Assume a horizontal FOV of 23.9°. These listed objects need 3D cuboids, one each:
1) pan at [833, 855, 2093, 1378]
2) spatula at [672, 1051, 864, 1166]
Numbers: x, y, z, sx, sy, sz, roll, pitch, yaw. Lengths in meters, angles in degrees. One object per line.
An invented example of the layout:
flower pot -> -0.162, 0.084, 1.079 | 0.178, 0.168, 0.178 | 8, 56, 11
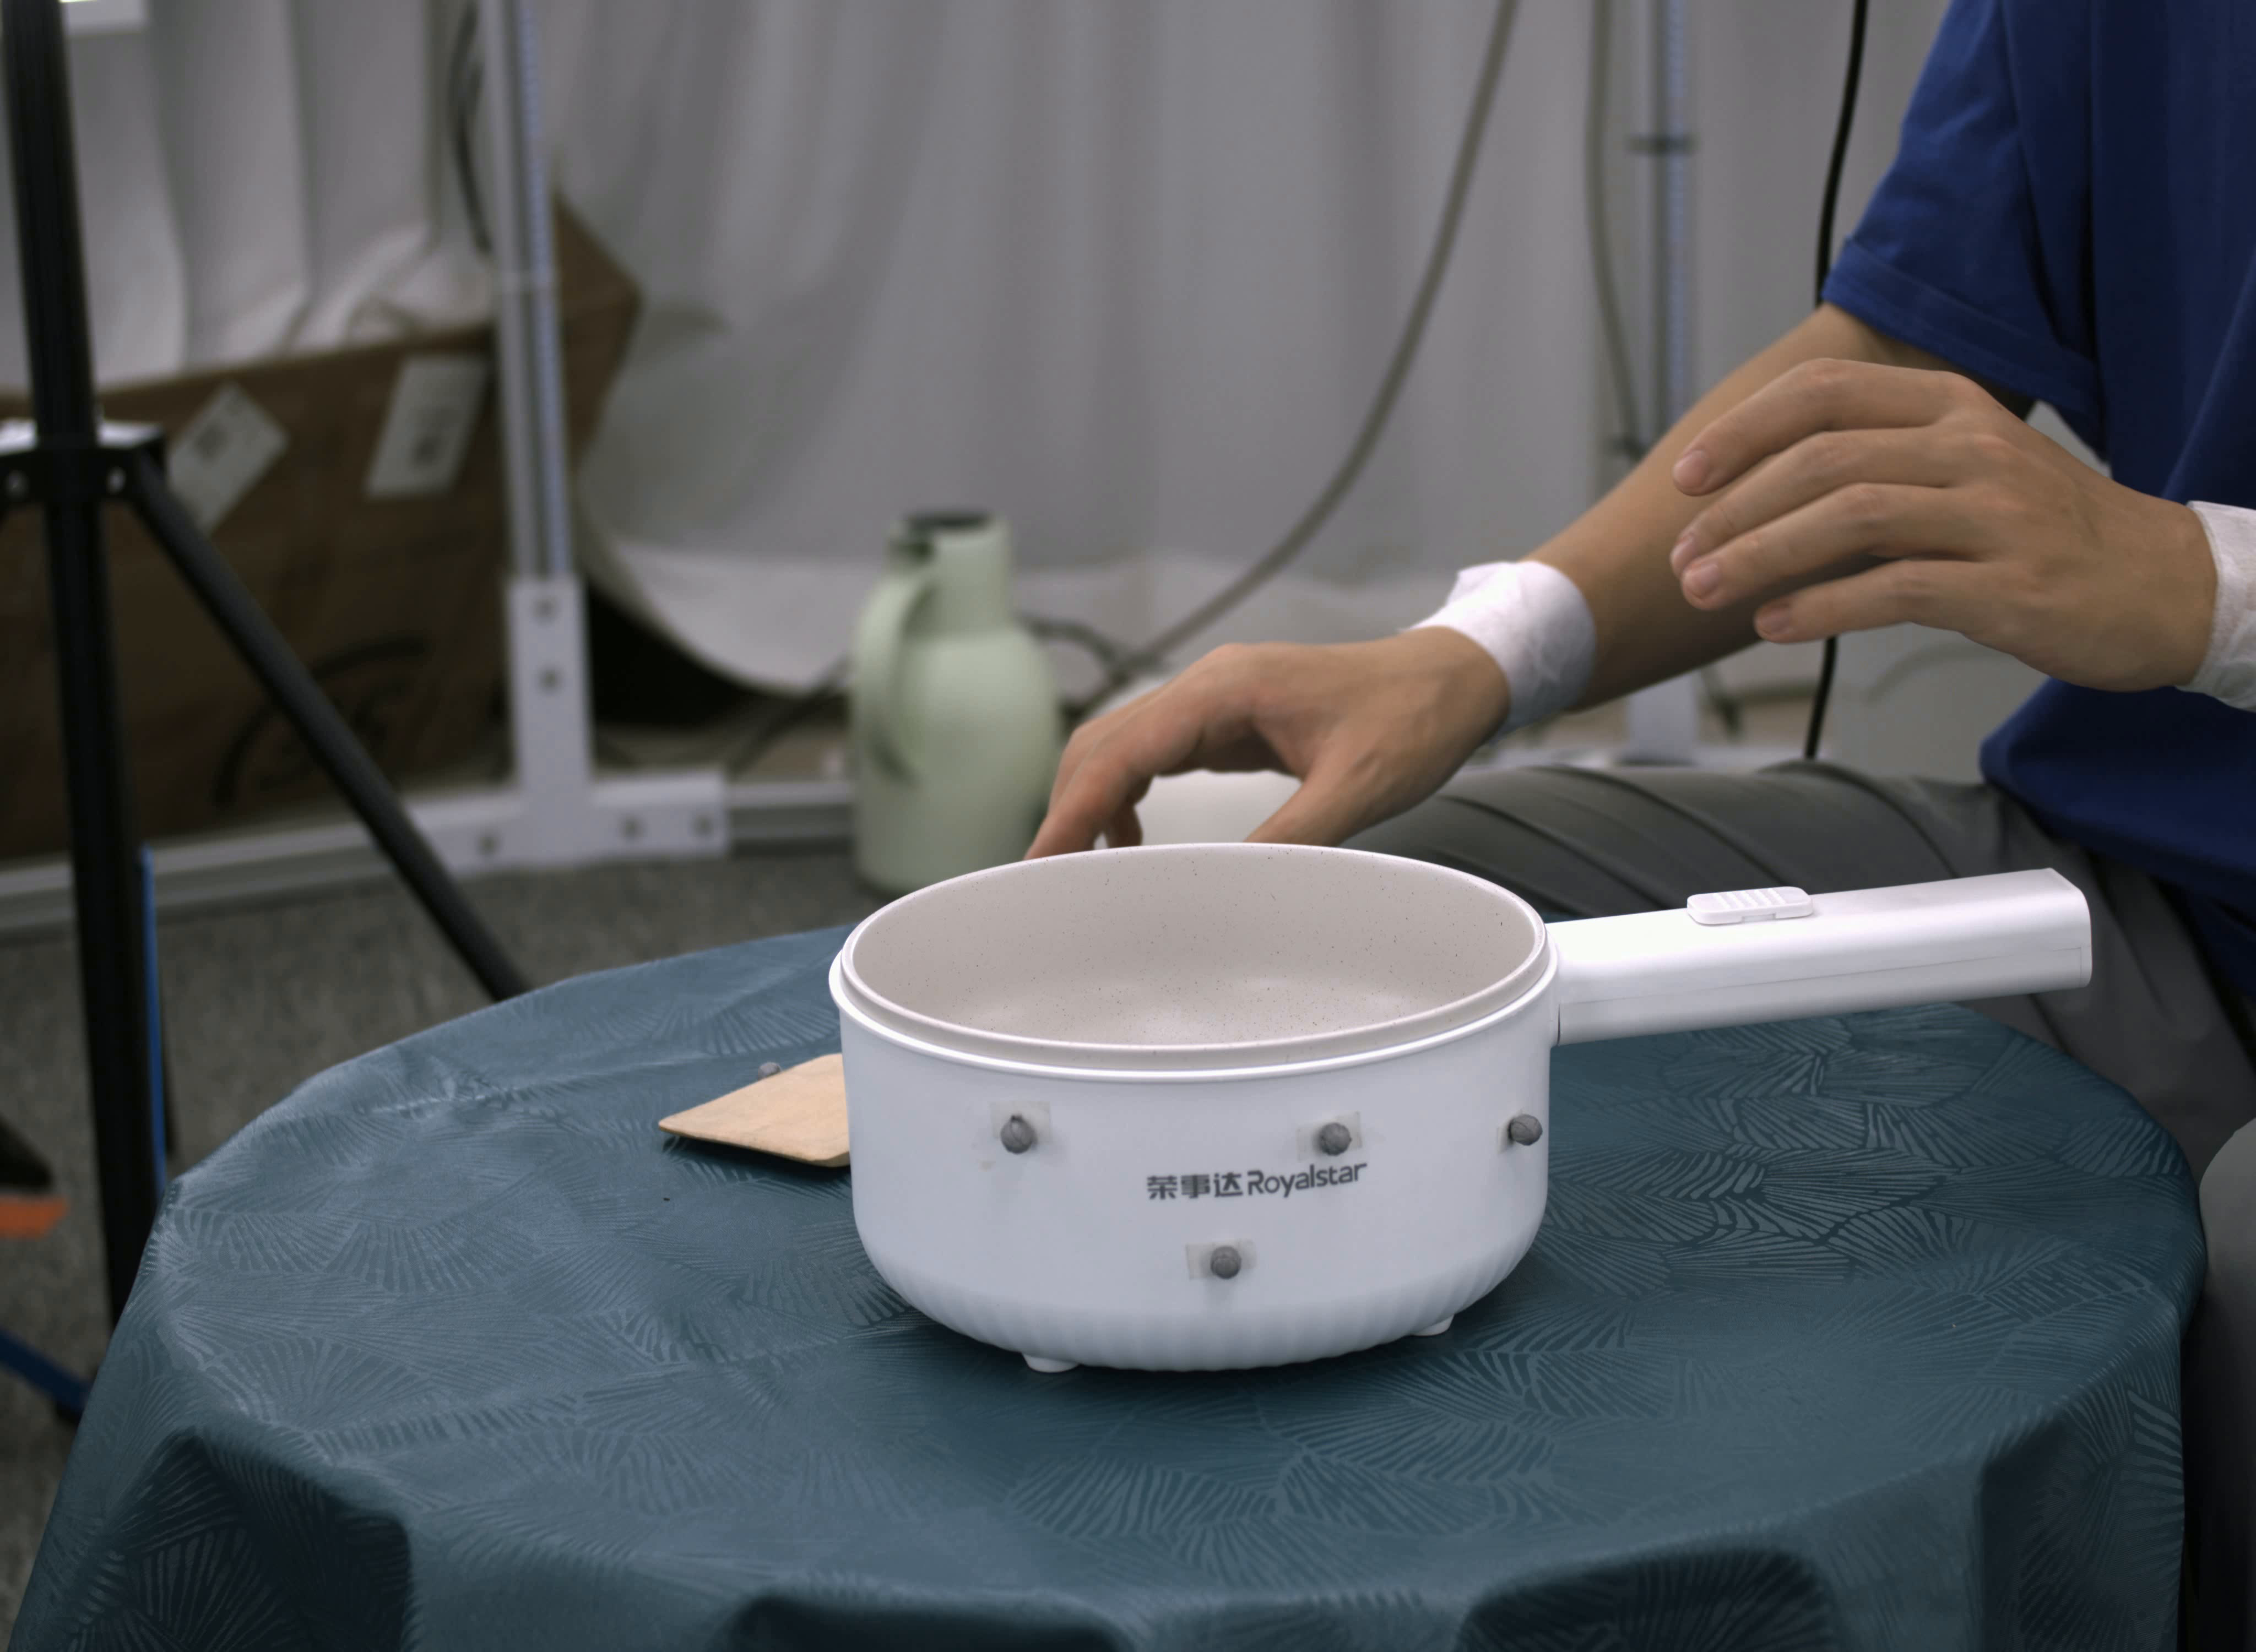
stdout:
pan -> 0.095, 0.075, 1.481 | 0.351, 0.102, 0.203 | -5, 14, -8
spatula -> -0.029, 0.062, 1.708 | 0.074, 0.010, 0.287 | 8, 20, 37
